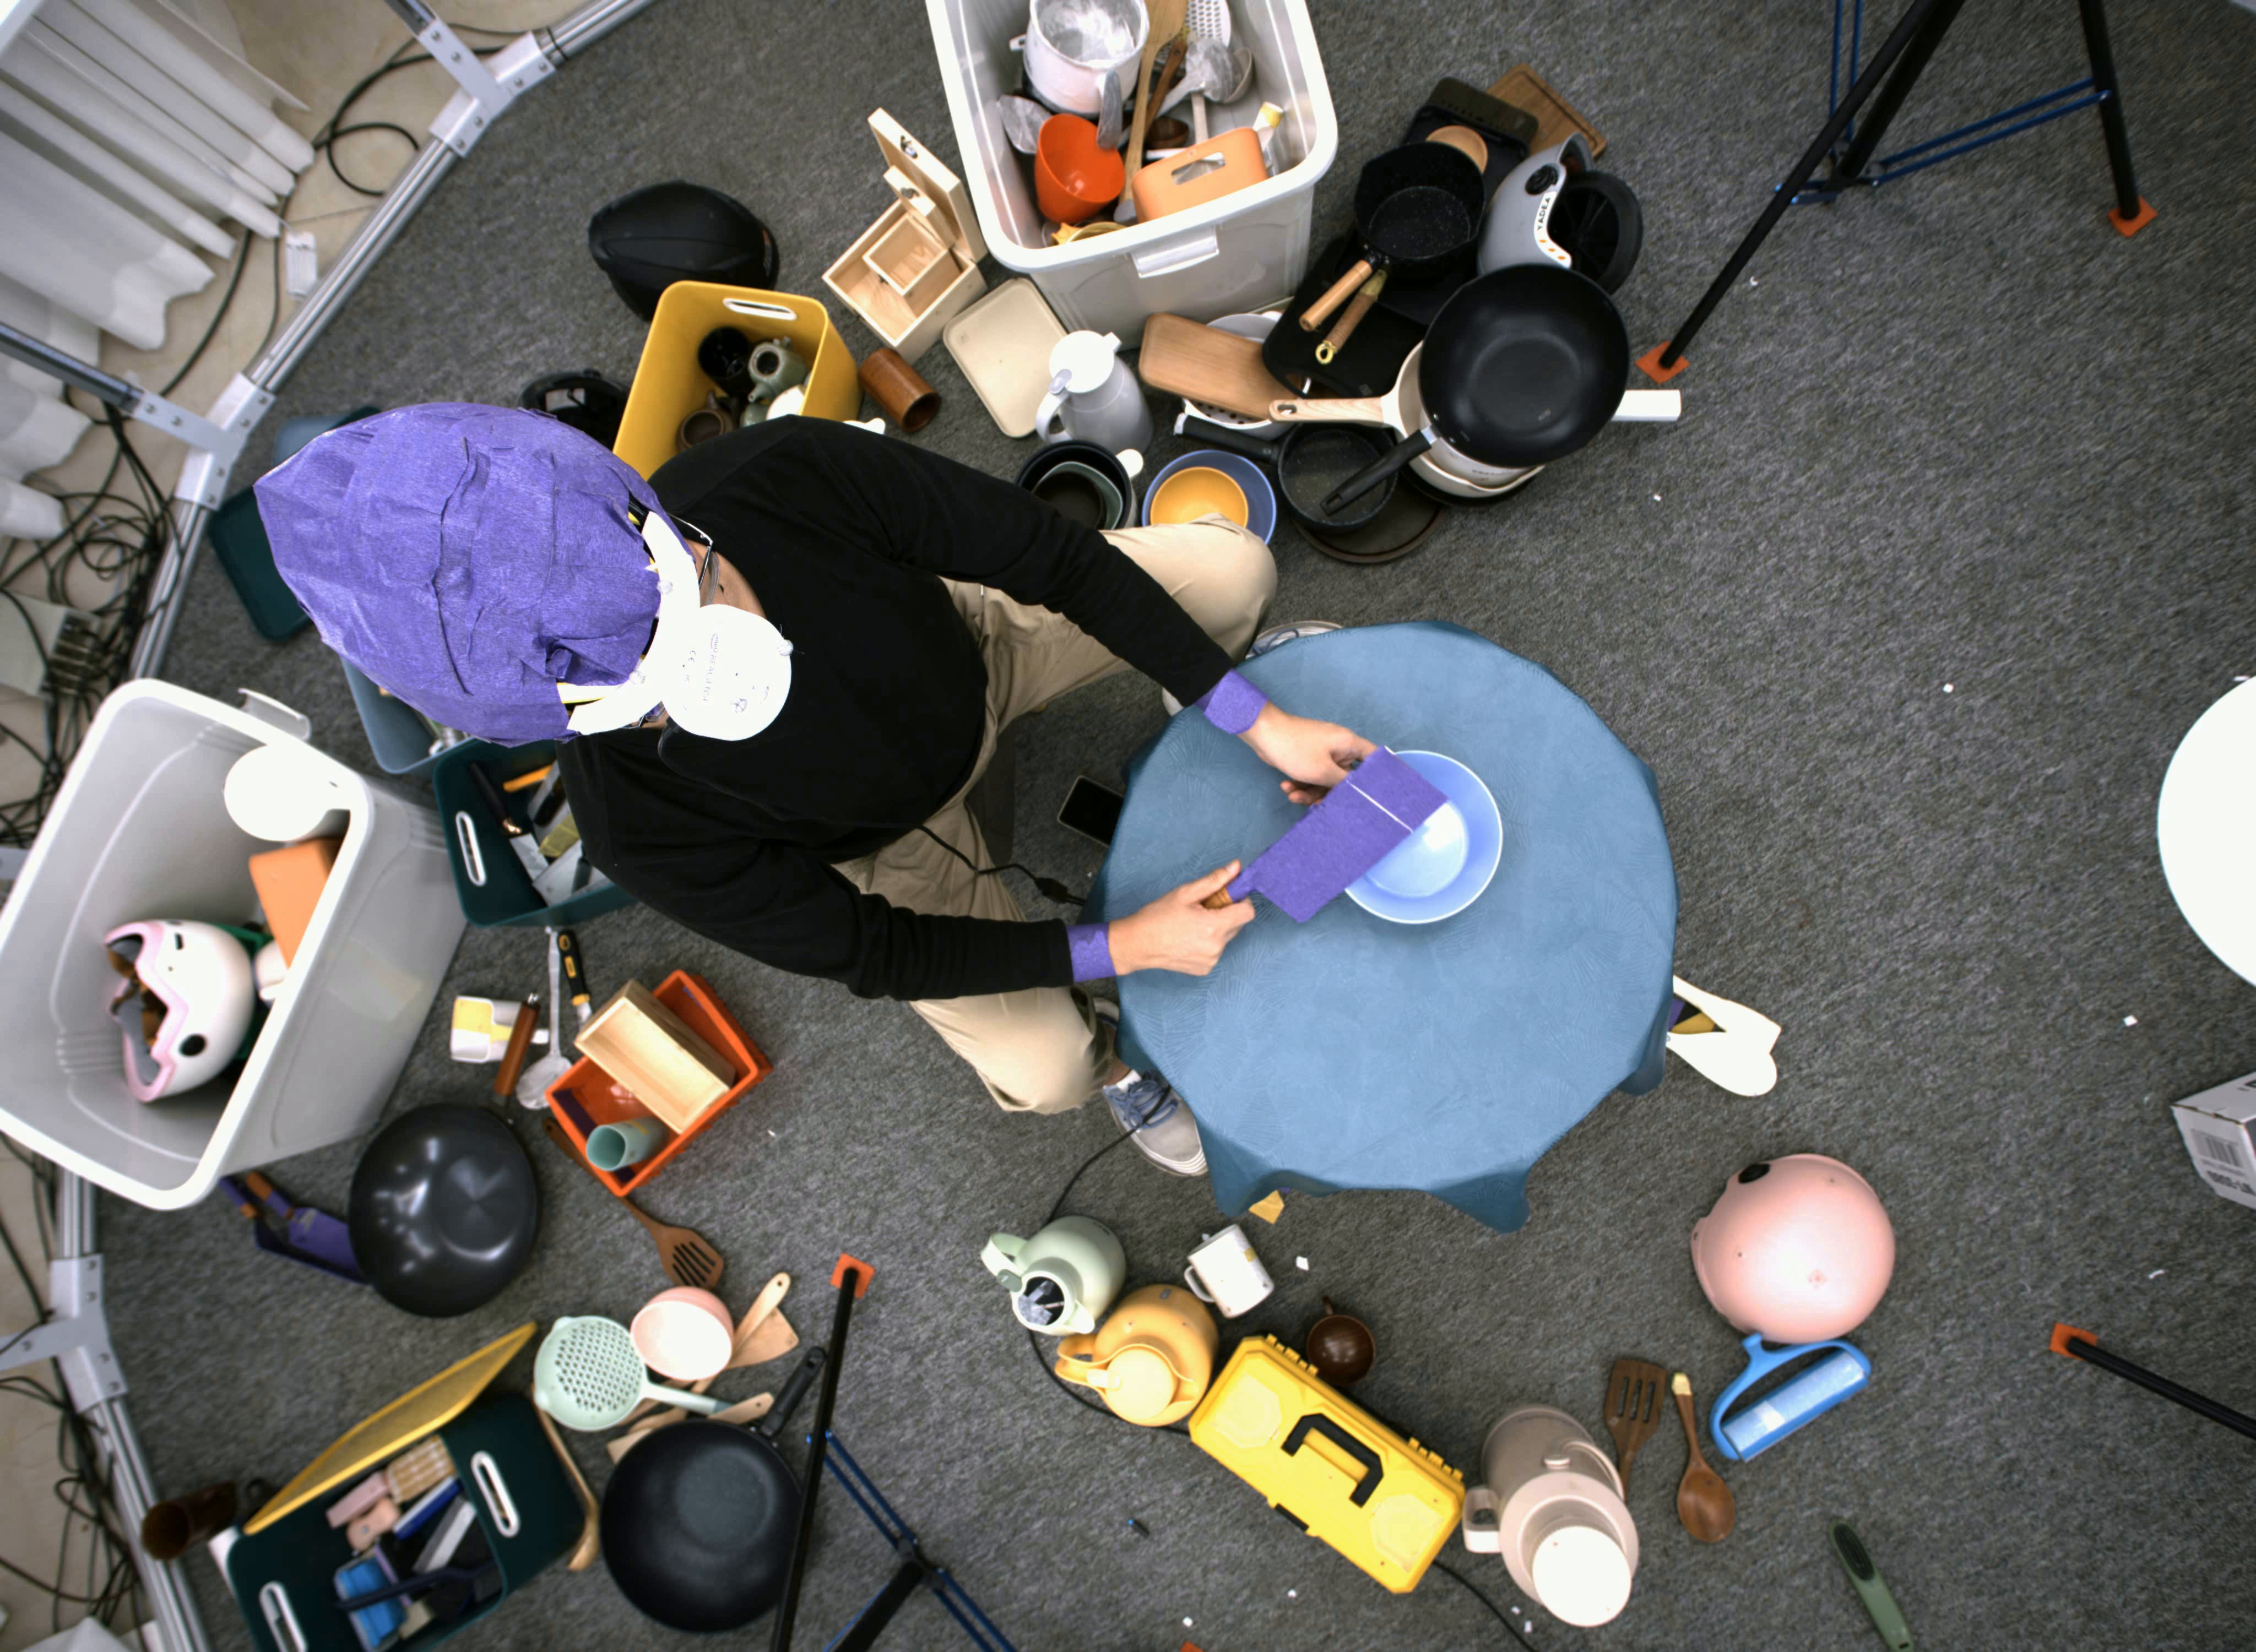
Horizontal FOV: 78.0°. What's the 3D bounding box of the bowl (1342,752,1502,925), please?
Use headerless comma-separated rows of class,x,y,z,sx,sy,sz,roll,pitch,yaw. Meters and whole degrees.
bowl,0.294,0.014,1.423,0.177,0.070,0.175,-1,86,11

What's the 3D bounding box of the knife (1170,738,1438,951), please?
knife,0.175,0.041,1.389,0.104,0.031,0.322,36,122,-16
